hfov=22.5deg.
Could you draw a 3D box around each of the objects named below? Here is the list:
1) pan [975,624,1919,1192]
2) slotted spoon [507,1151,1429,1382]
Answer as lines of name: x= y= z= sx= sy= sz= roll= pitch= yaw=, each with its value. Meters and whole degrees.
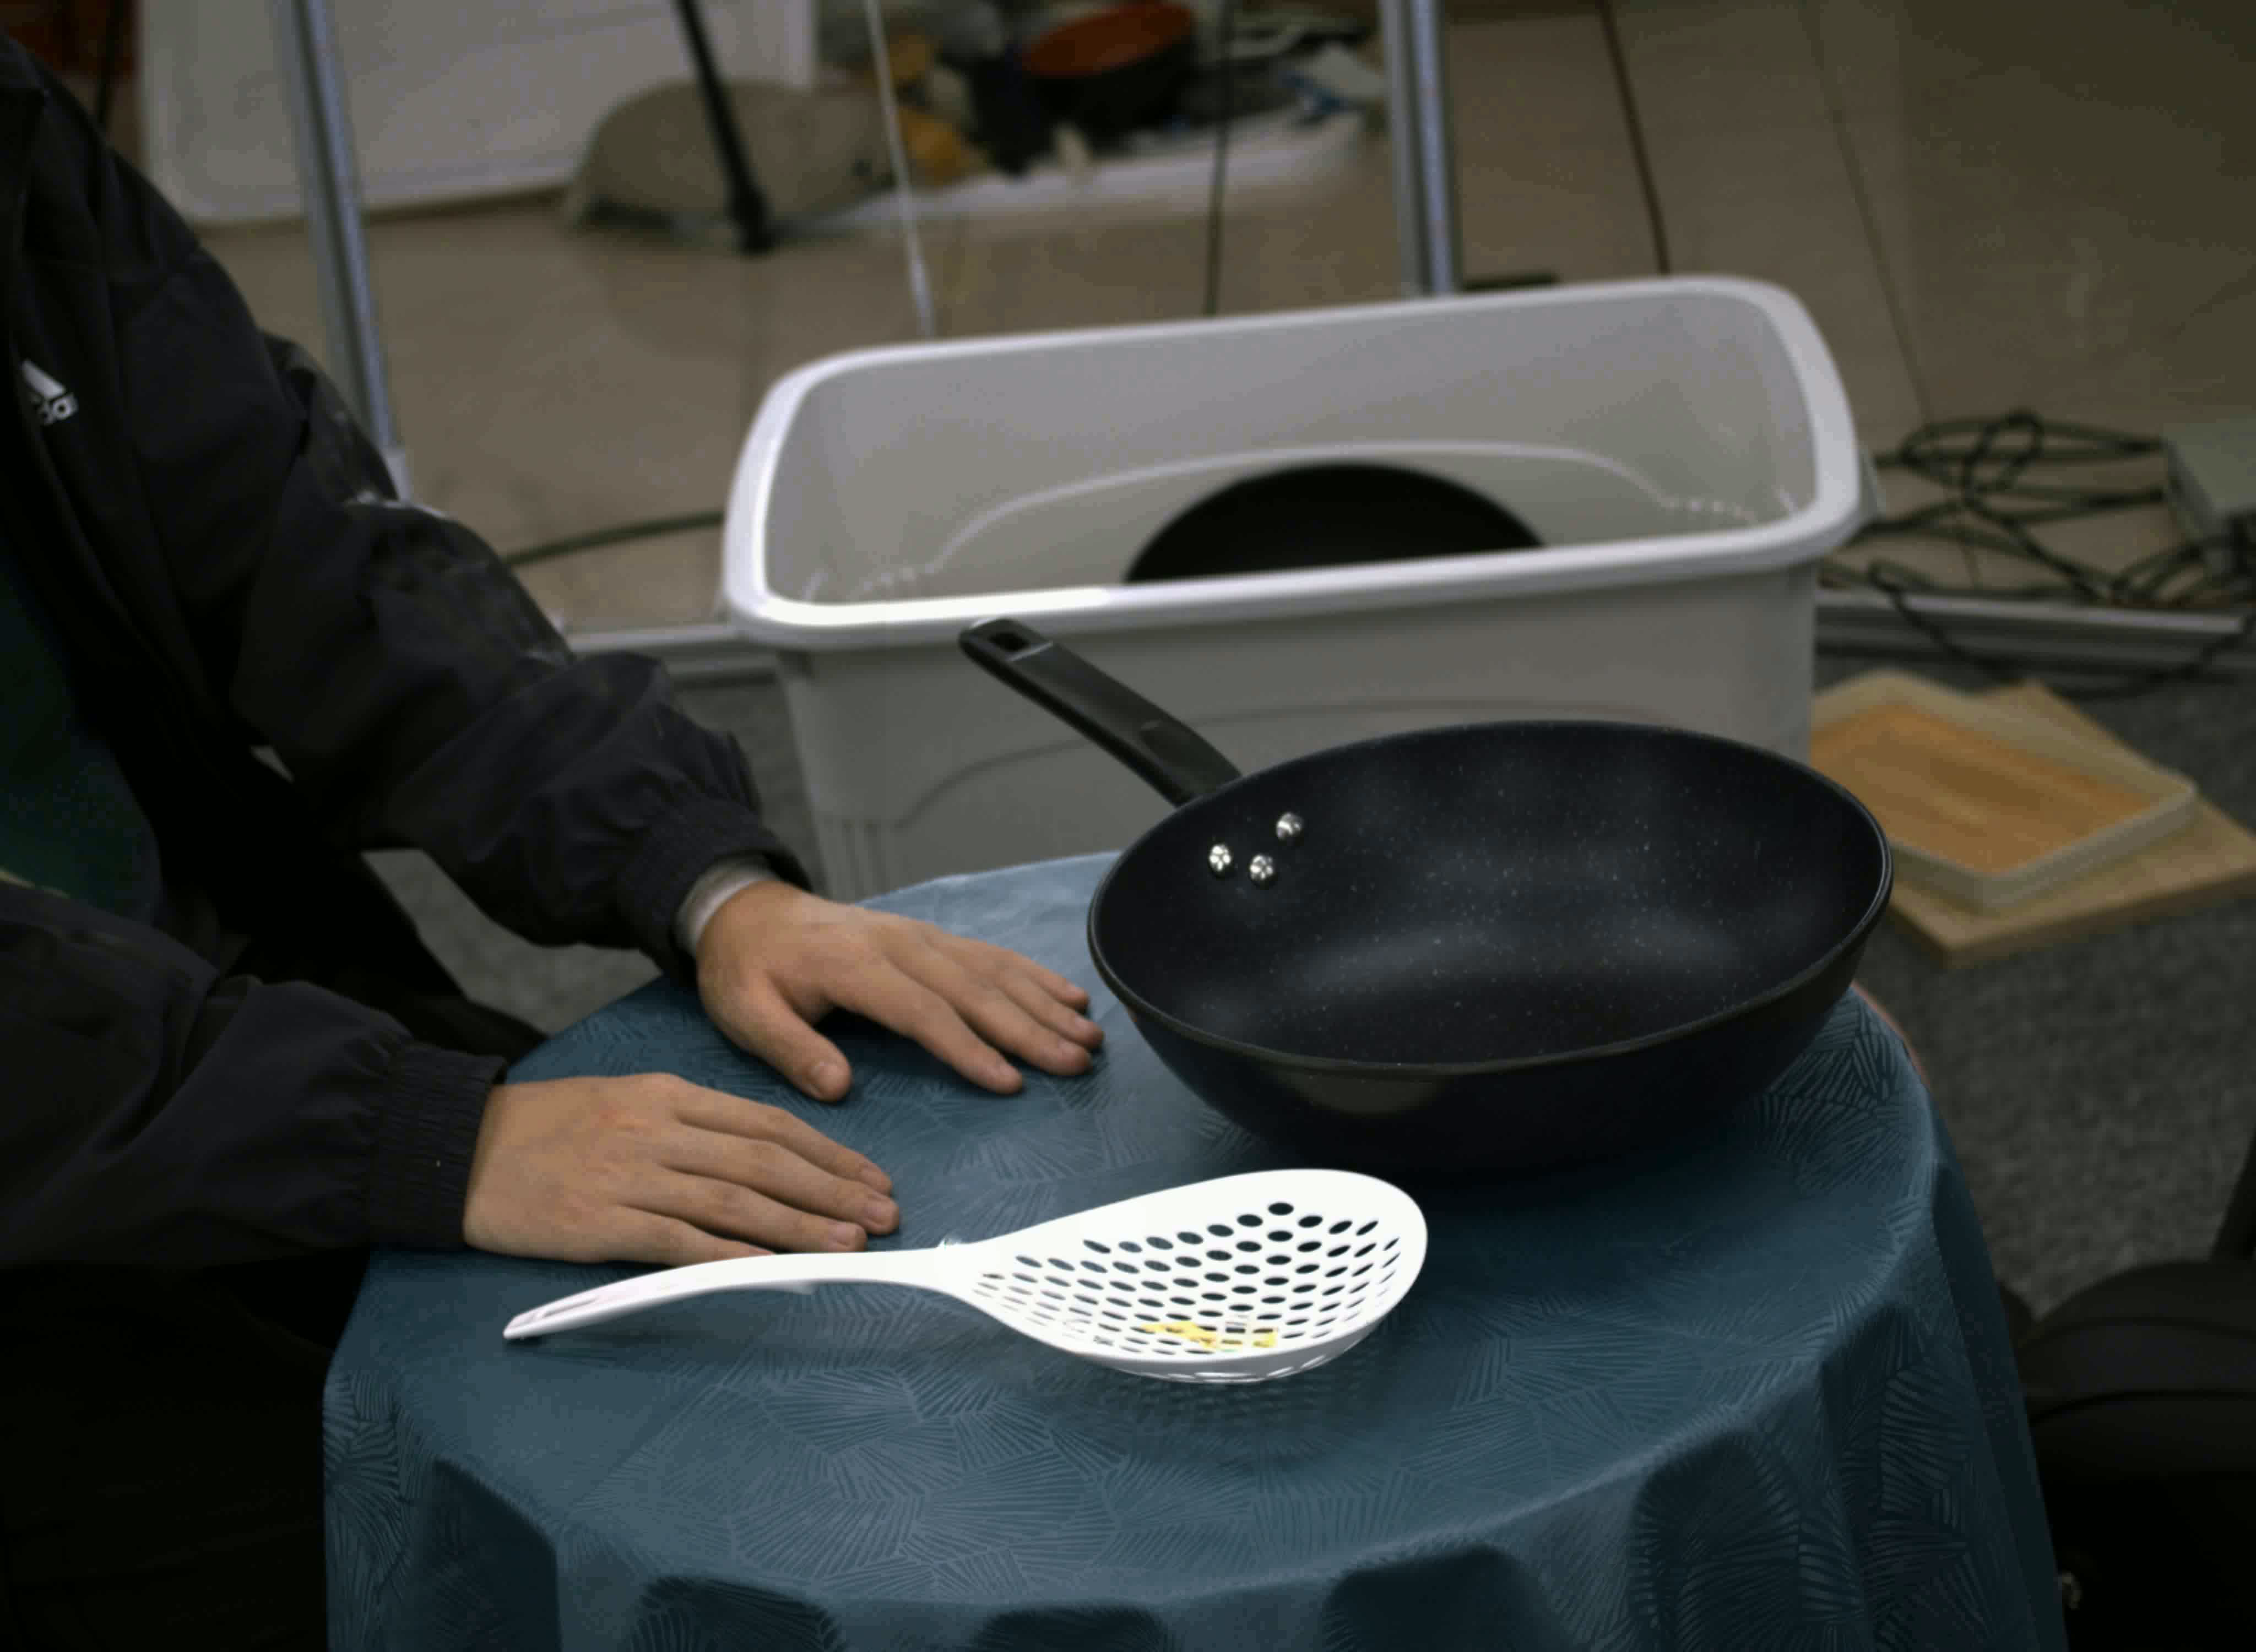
pan: x=0.095 y=0.030 z=2.232 sx=0.308 sy=0.113 sz=0.472 roll=-22 pitch=29 yaw=-33
slotted spoon: x=-0.061 y=0.169 z=2.048 sx=0.347 sy=0.051 sz=0.135 roll=0 pitch=28 yaw=15
